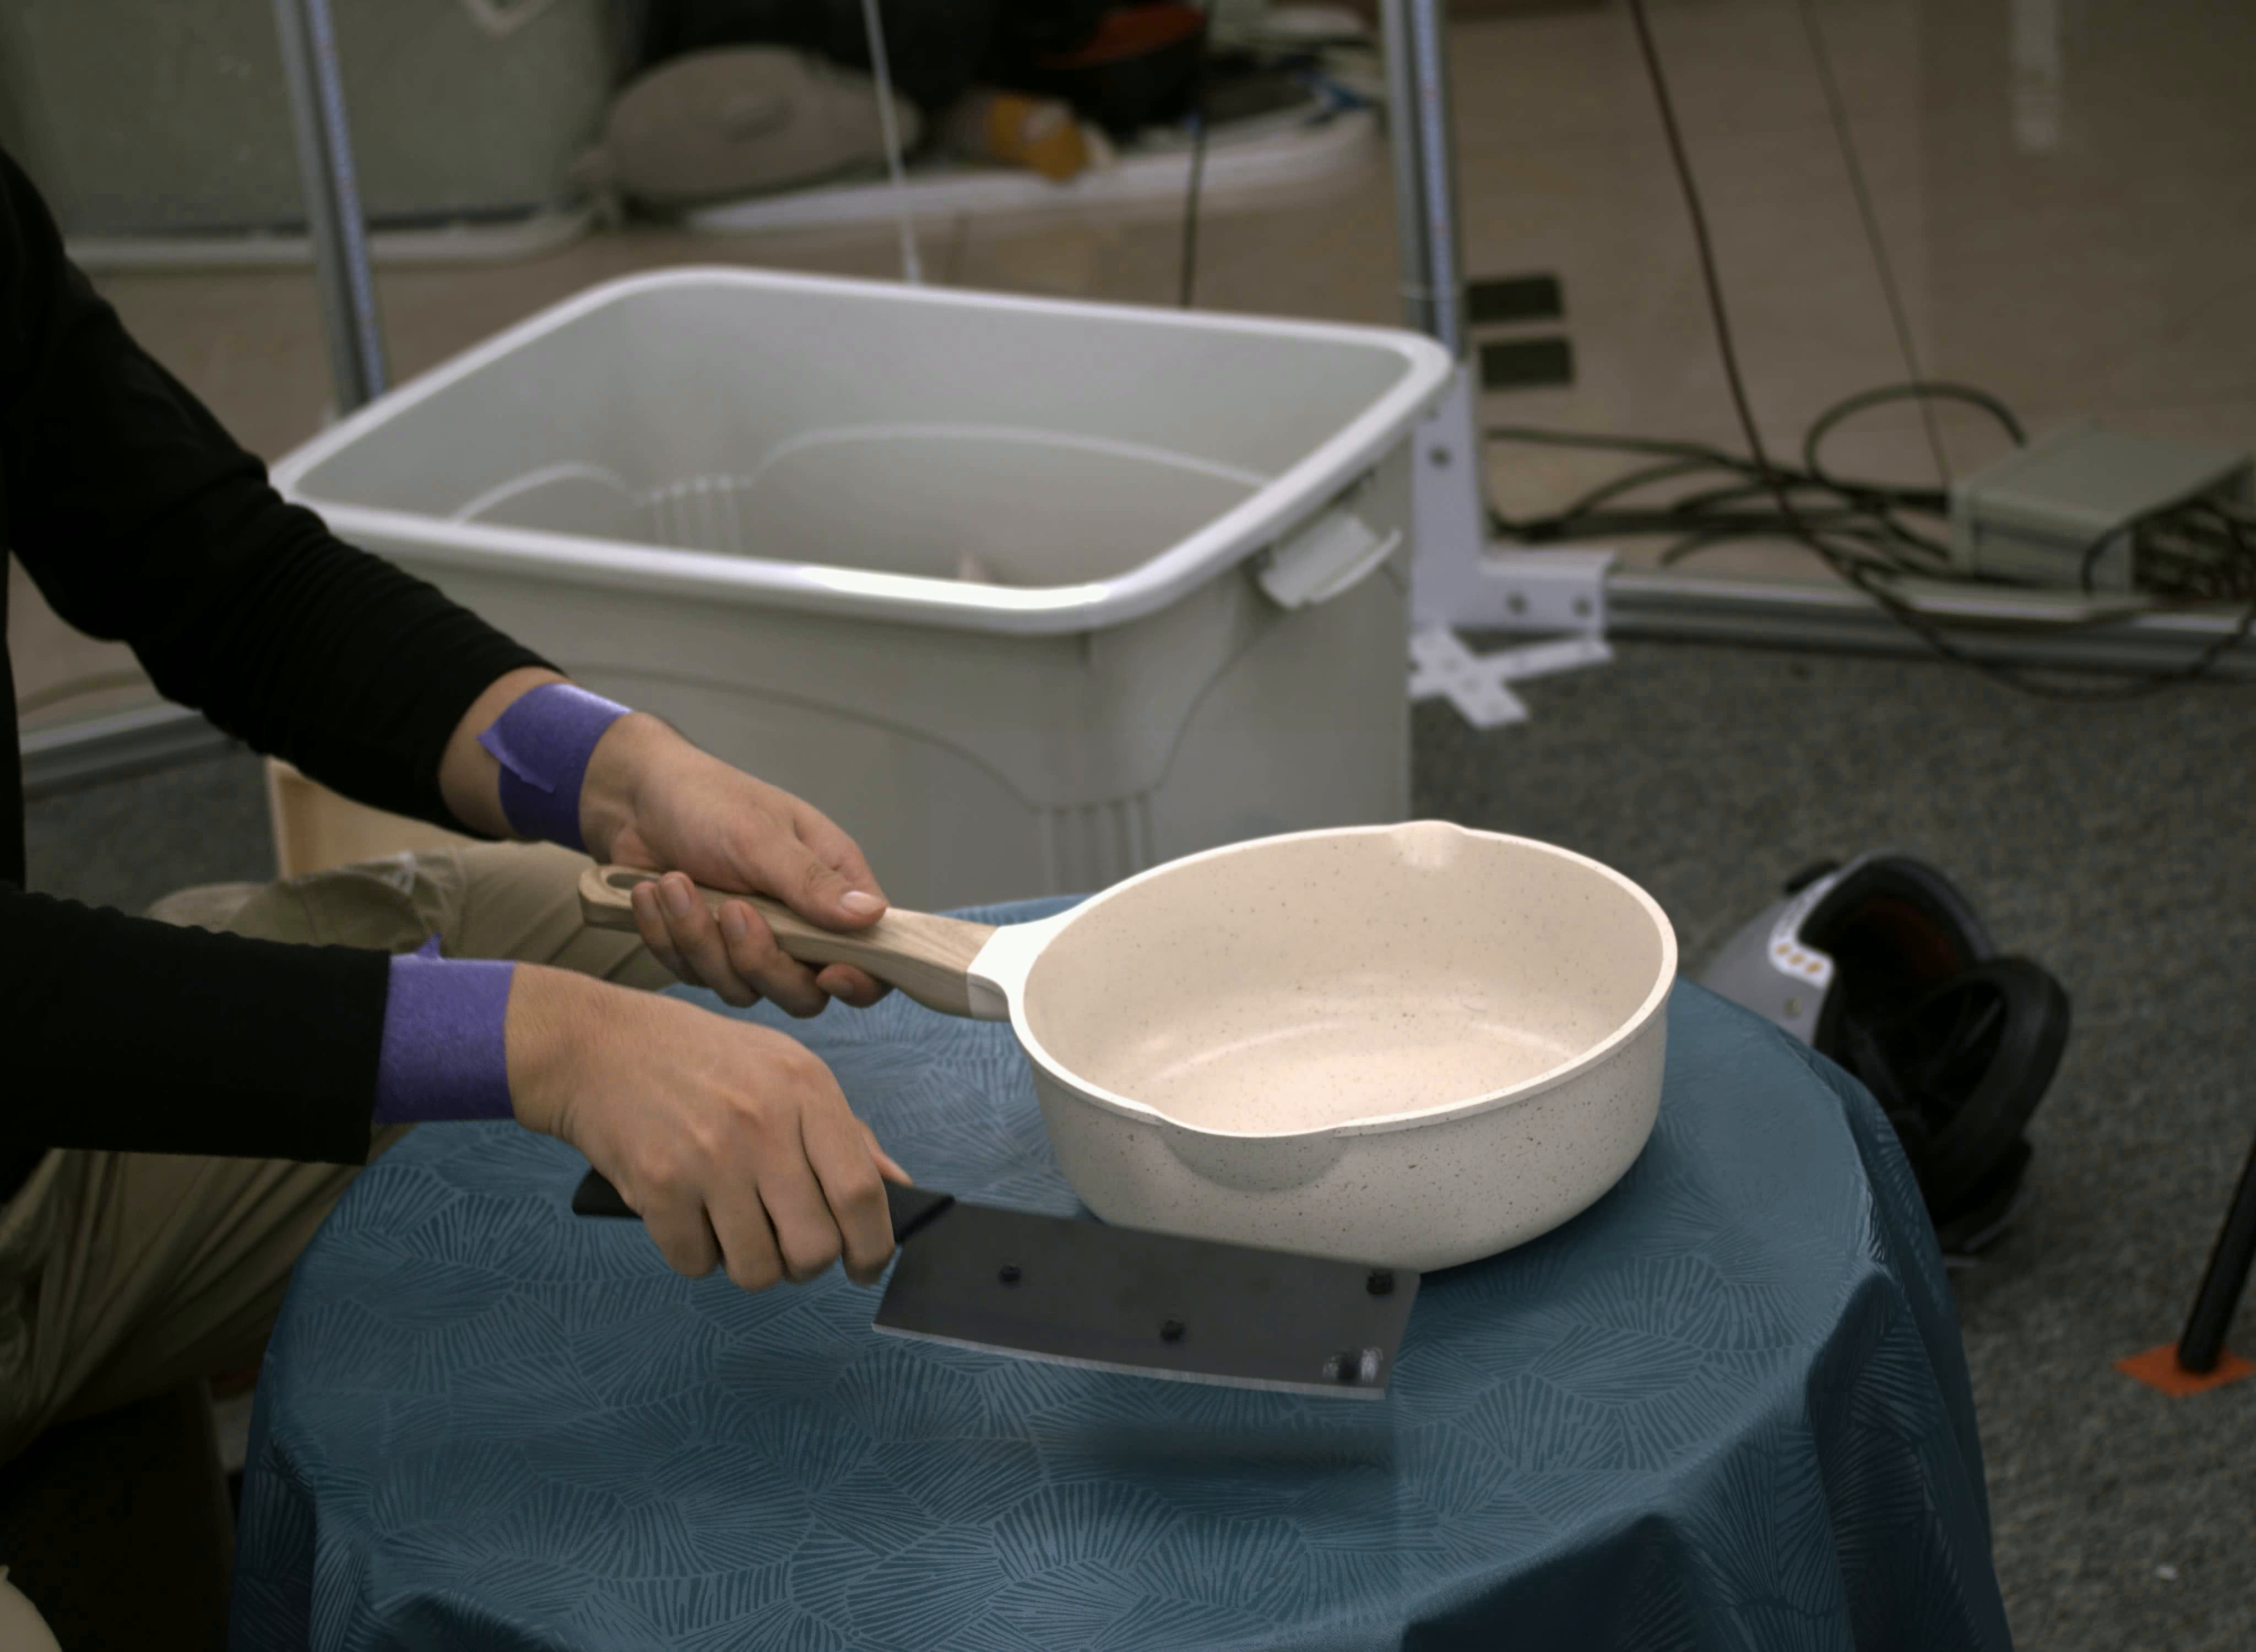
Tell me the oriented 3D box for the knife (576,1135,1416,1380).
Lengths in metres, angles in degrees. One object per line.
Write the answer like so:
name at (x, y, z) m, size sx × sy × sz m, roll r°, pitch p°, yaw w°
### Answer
knife at (-0.050, 0.149, 1.974) m, size 0.301 × 0.021 × 0.079 m, roll 11°, pitch 43°, yaw 16°

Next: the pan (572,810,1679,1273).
pan at (-0.003, 0.077, 2.165) m, size 0.434 × 0.103 × 0.259 m, roll 2°, pitch 28°, yaw 18°
